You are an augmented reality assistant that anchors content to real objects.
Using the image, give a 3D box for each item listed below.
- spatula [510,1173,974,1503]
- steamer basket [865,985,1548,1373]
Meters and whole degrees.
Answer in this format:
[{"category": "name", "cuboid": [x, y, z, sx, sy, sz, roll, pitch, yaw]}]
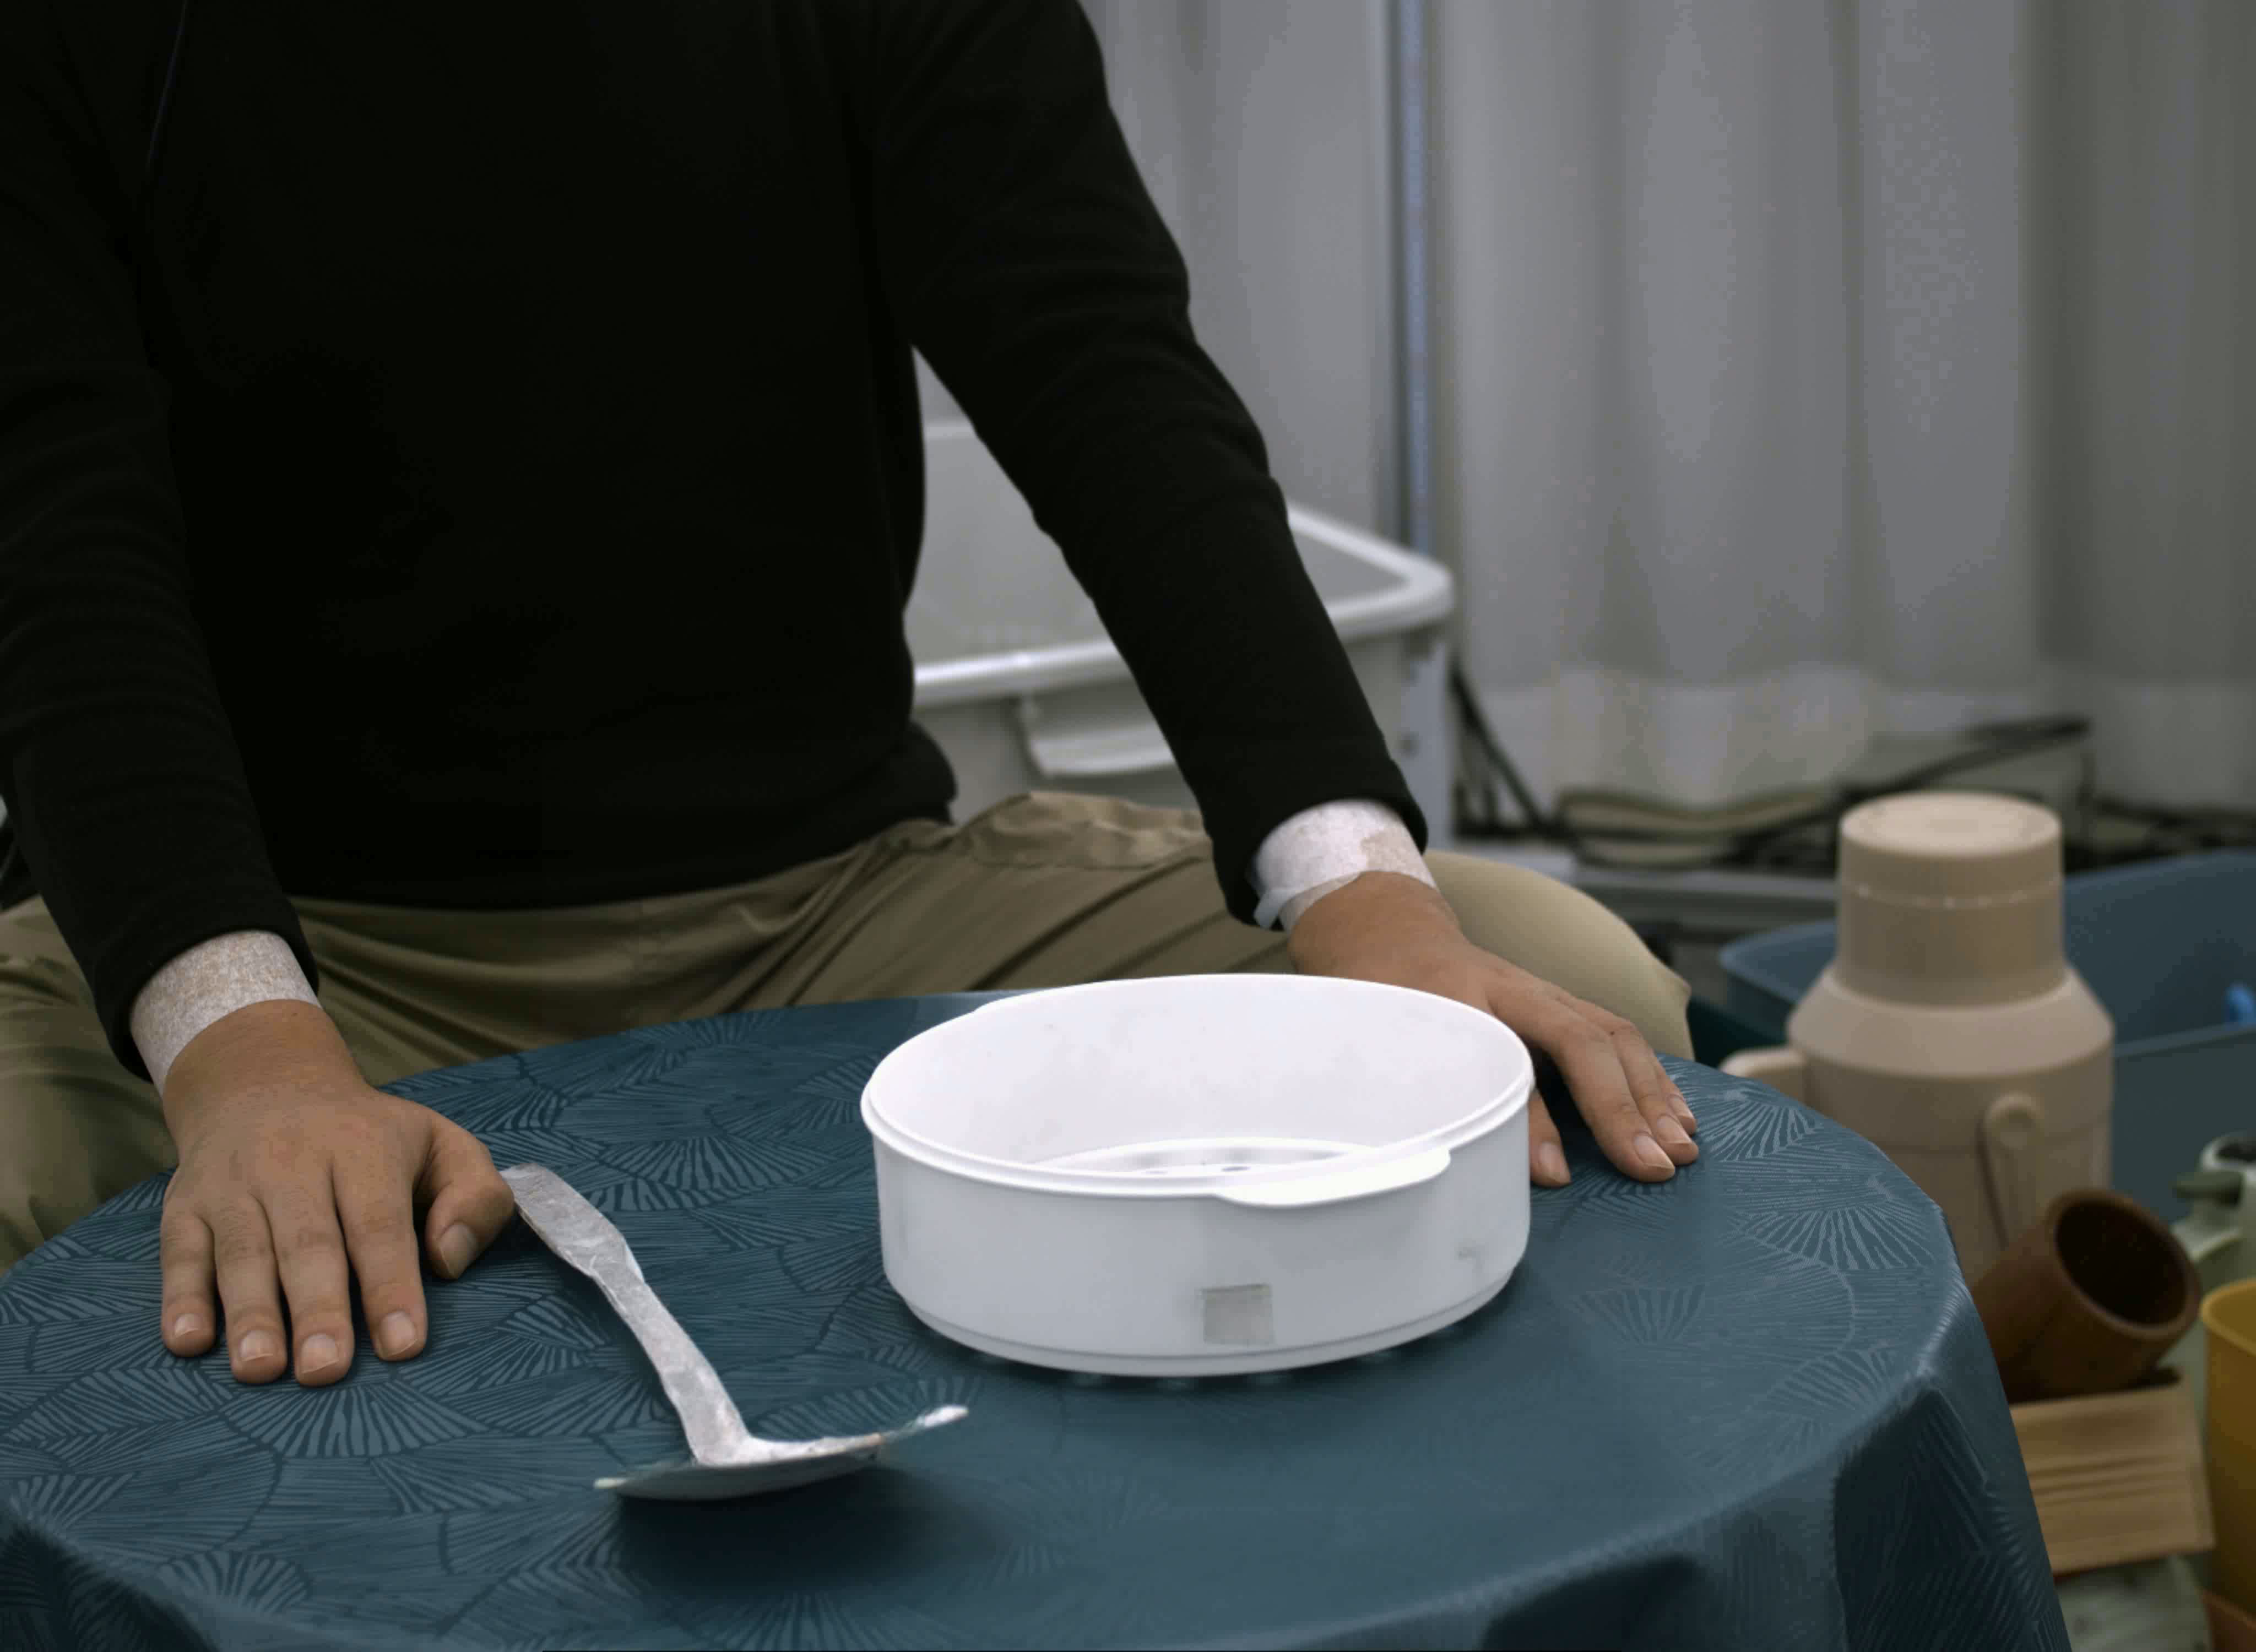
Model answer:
[{"category": "spatula", "cuboid": [-0.136, 0.138, 1.579, 0.098, 0.044, 0.368, -10, 16, -17]}, {"category": "steamer basket", "cuboid": [0.024, 0.104, 1.616, 0.201, 0.069, 0.232, -7, 14, -21]}]
